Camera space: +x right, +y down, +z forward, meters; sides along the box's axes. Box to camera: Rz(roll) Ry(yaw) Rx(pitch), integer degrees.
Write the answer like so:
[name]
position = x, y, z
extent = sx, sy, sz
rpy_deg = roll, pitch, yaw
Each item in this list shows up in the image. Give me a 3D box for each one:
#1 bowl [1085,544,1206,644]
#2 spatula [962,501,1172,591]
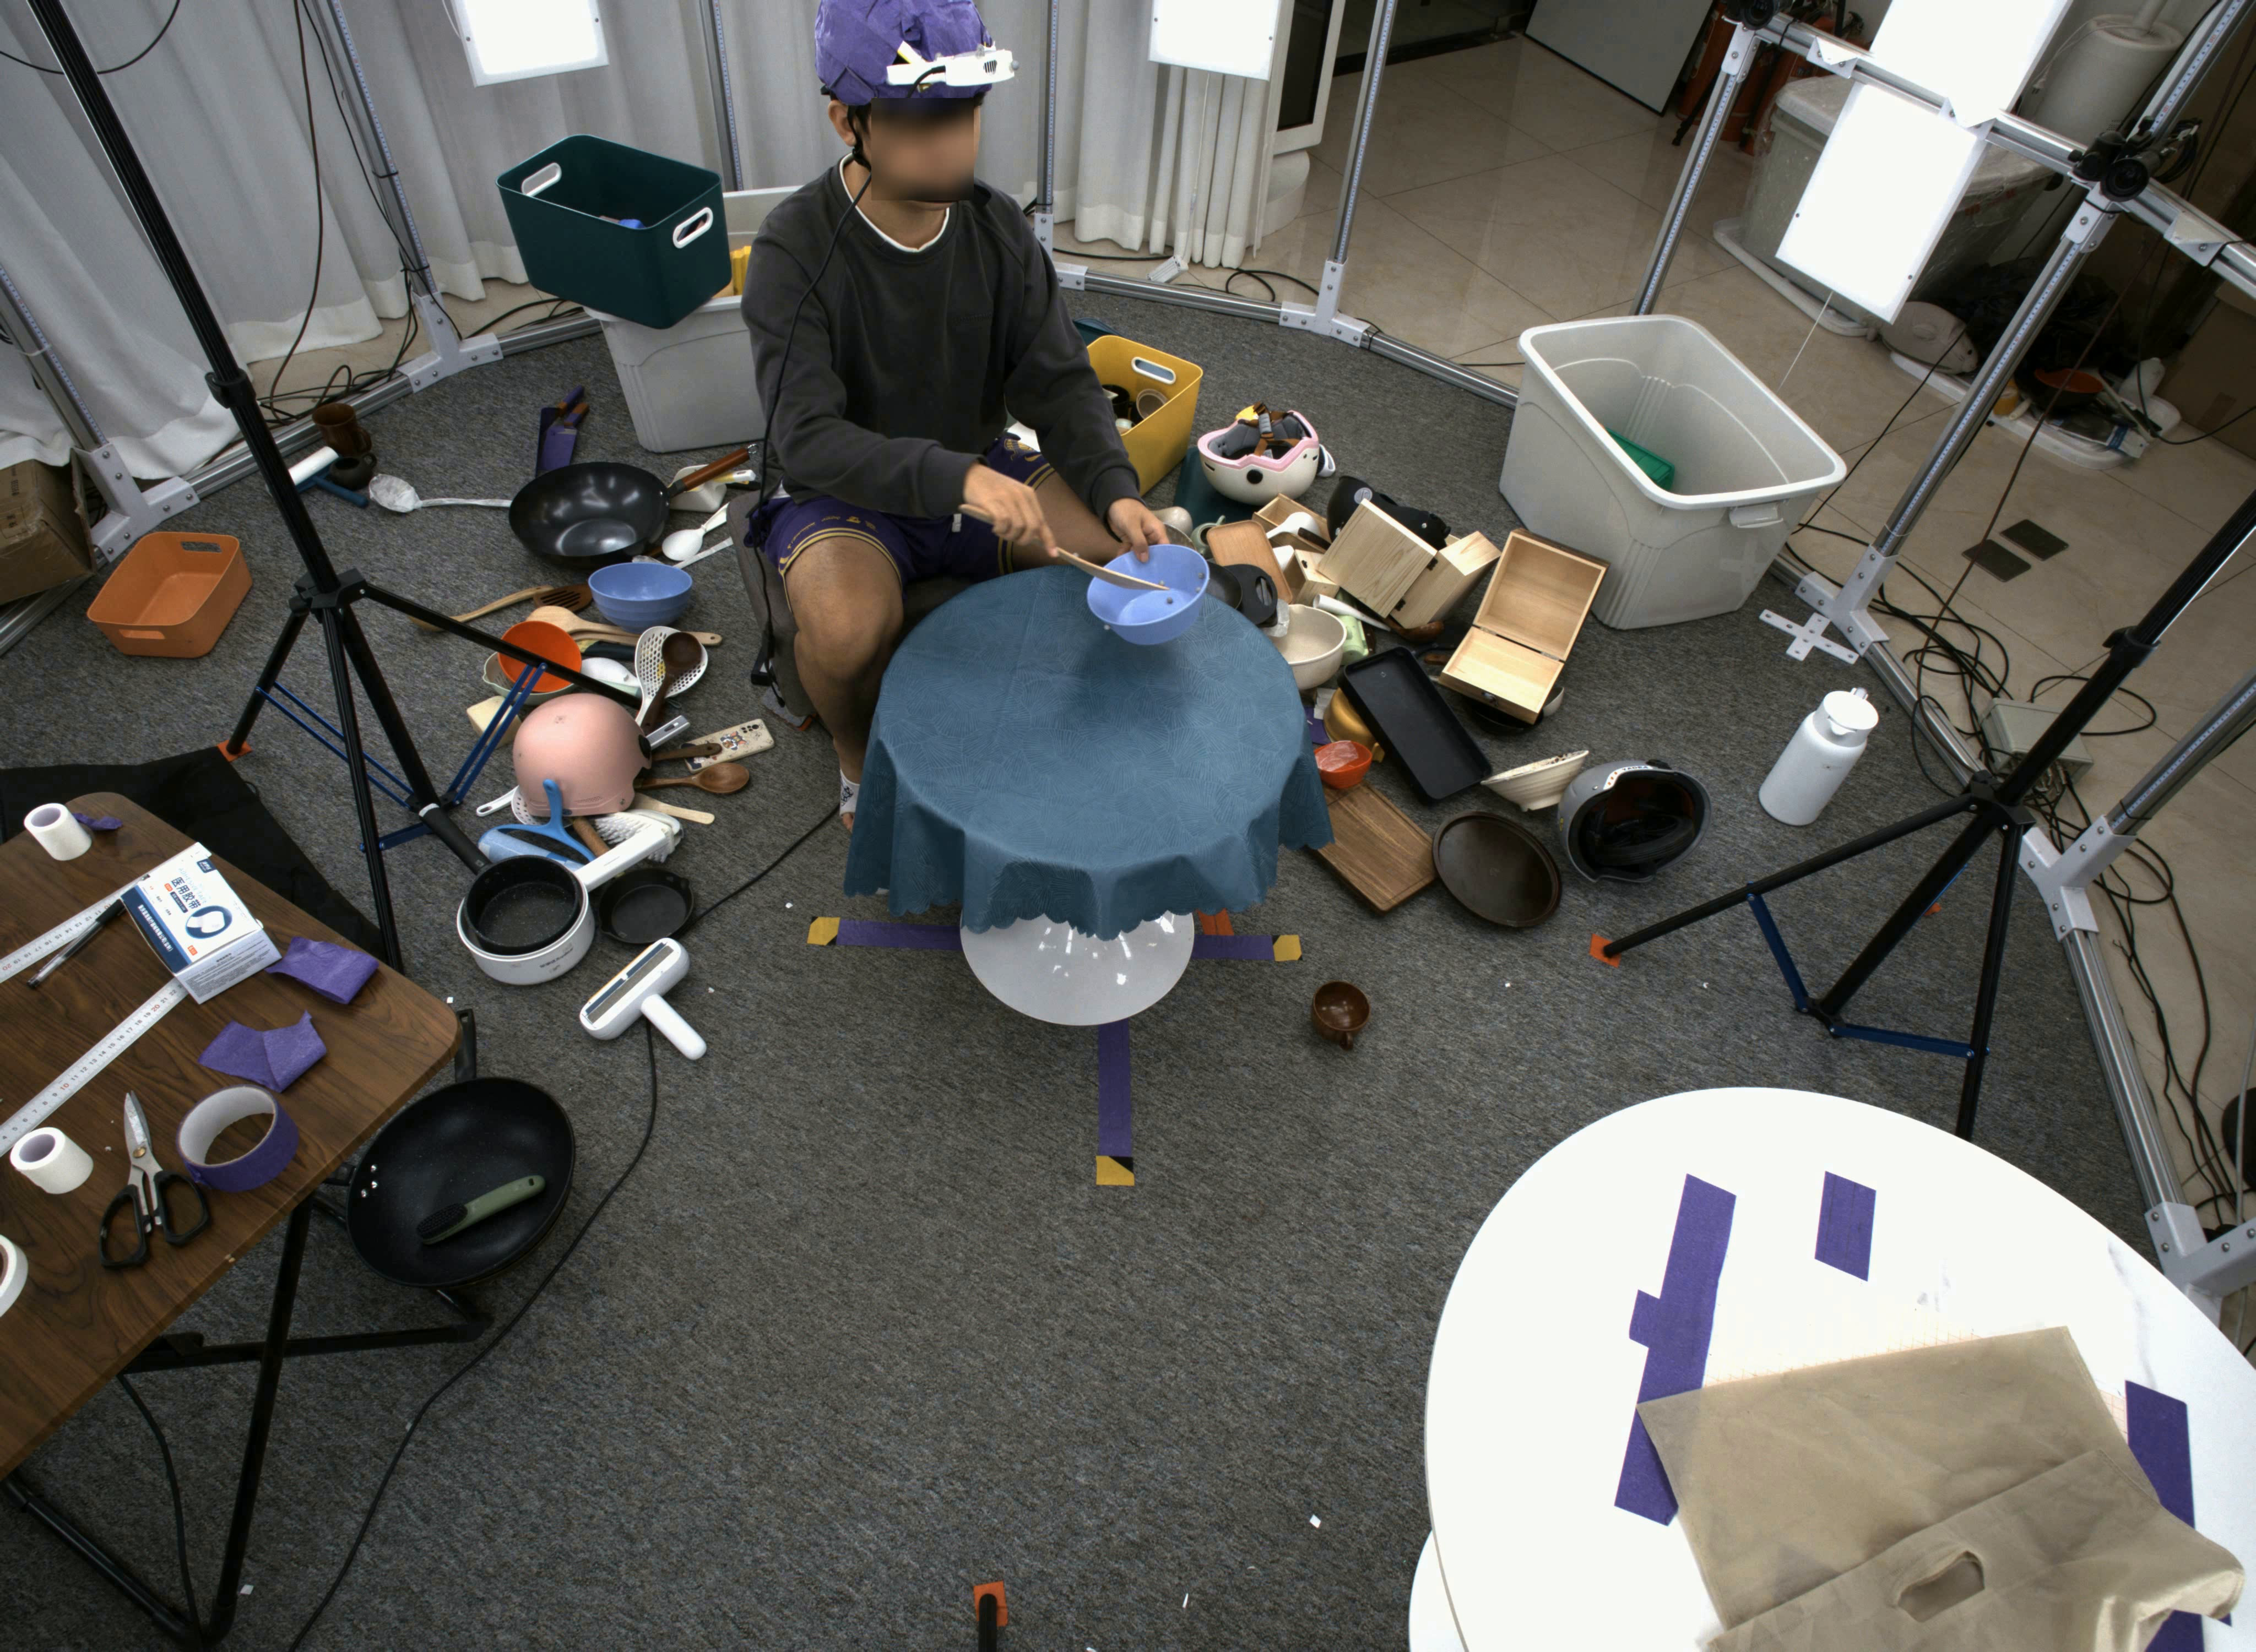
[bowl]
position = 0.032, -0.321, 1.823
extent = 0.176, 0.068, 0.180
rpy_deg = -11, 45, 11
[spatula]
position = -0.082, -0.364, 1.702
extent = 0.323, 0.016, 0.080
rpy_deg = 19, -5, -38
